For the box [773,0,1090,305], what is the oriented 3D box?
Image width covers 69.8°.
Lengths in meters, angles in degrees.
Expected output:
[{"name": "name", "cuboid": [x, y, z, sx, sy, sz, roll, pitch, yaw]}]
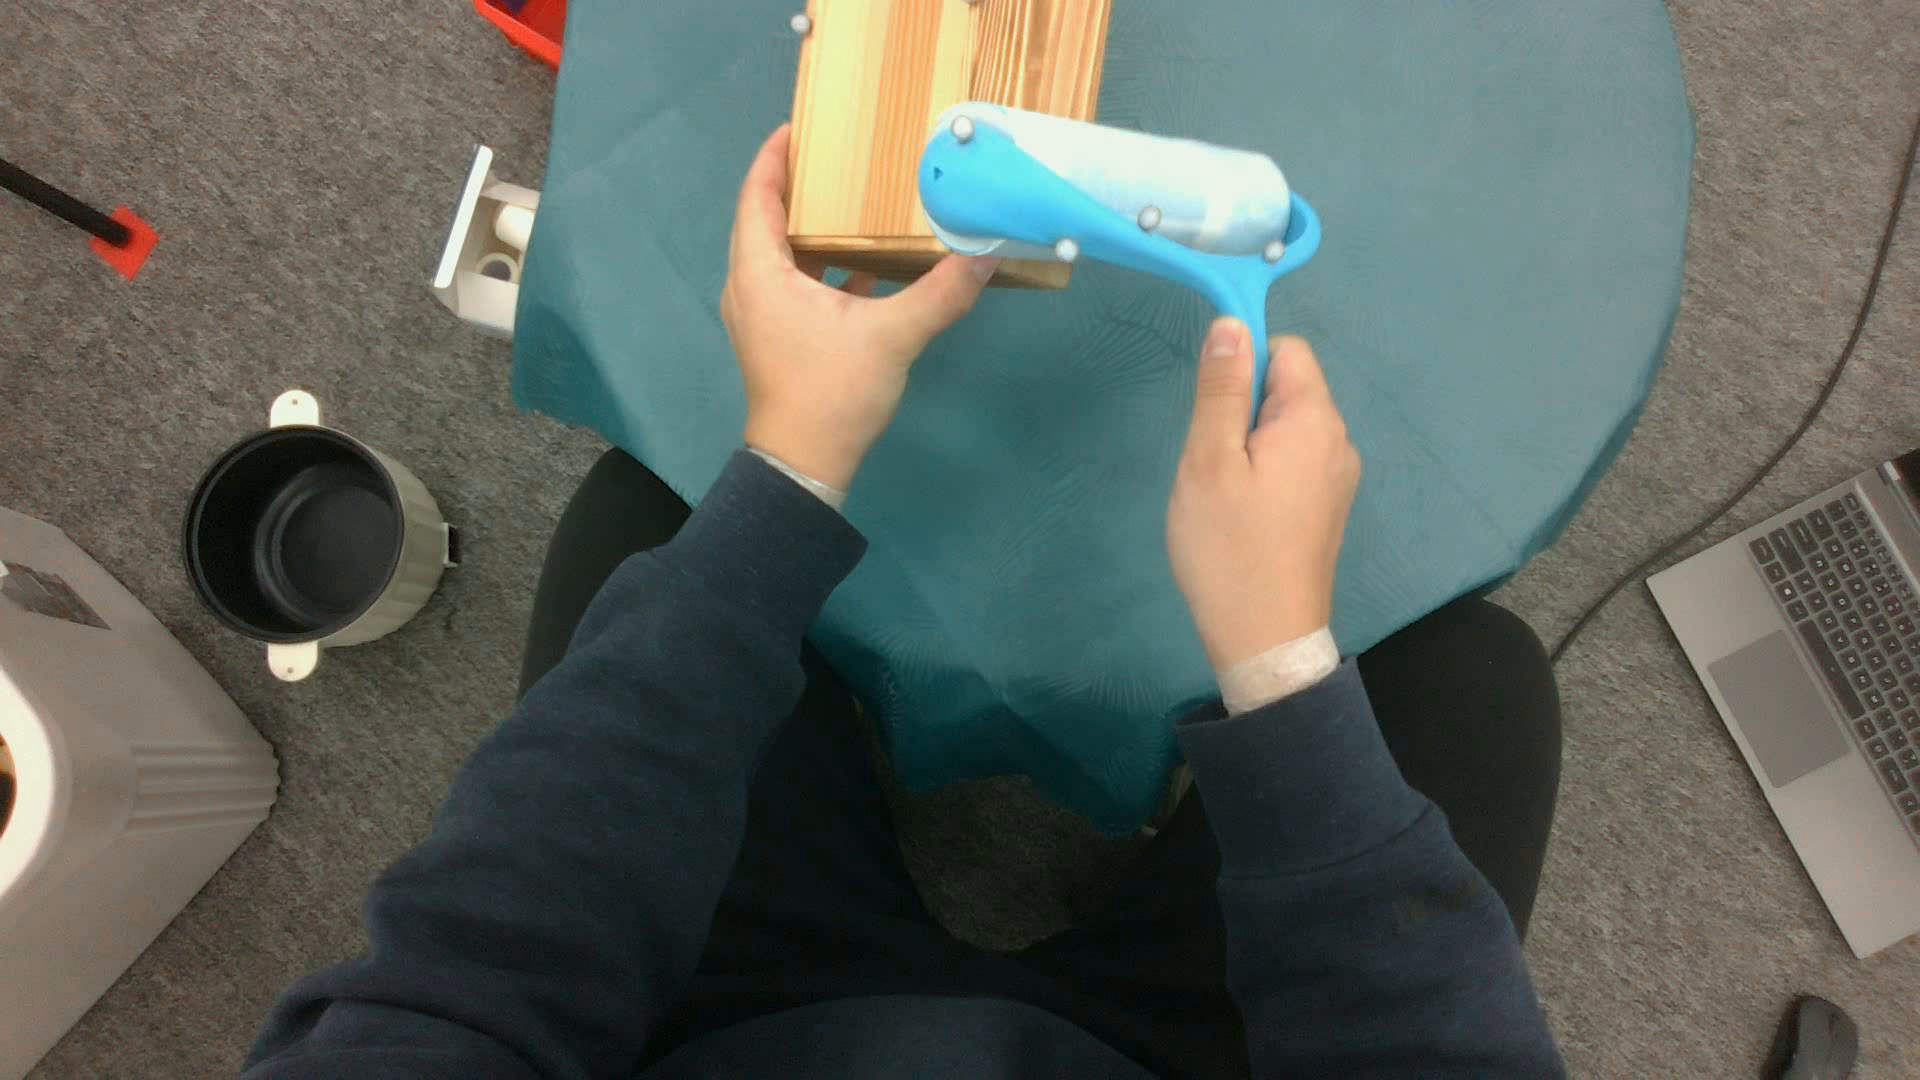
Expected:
[{"name": "box", "cuboid": [-0.010, -0.215, 0.610, 0.107, 0.080, 0.211, 8, 93, 42]}]

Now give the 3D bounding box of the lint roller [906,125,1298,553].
[{"name": "lint roller", "cuboid": [0.089, -0.088, 0.572, 0.067, 0.230, 0.180, -36, 76, 37]}]
